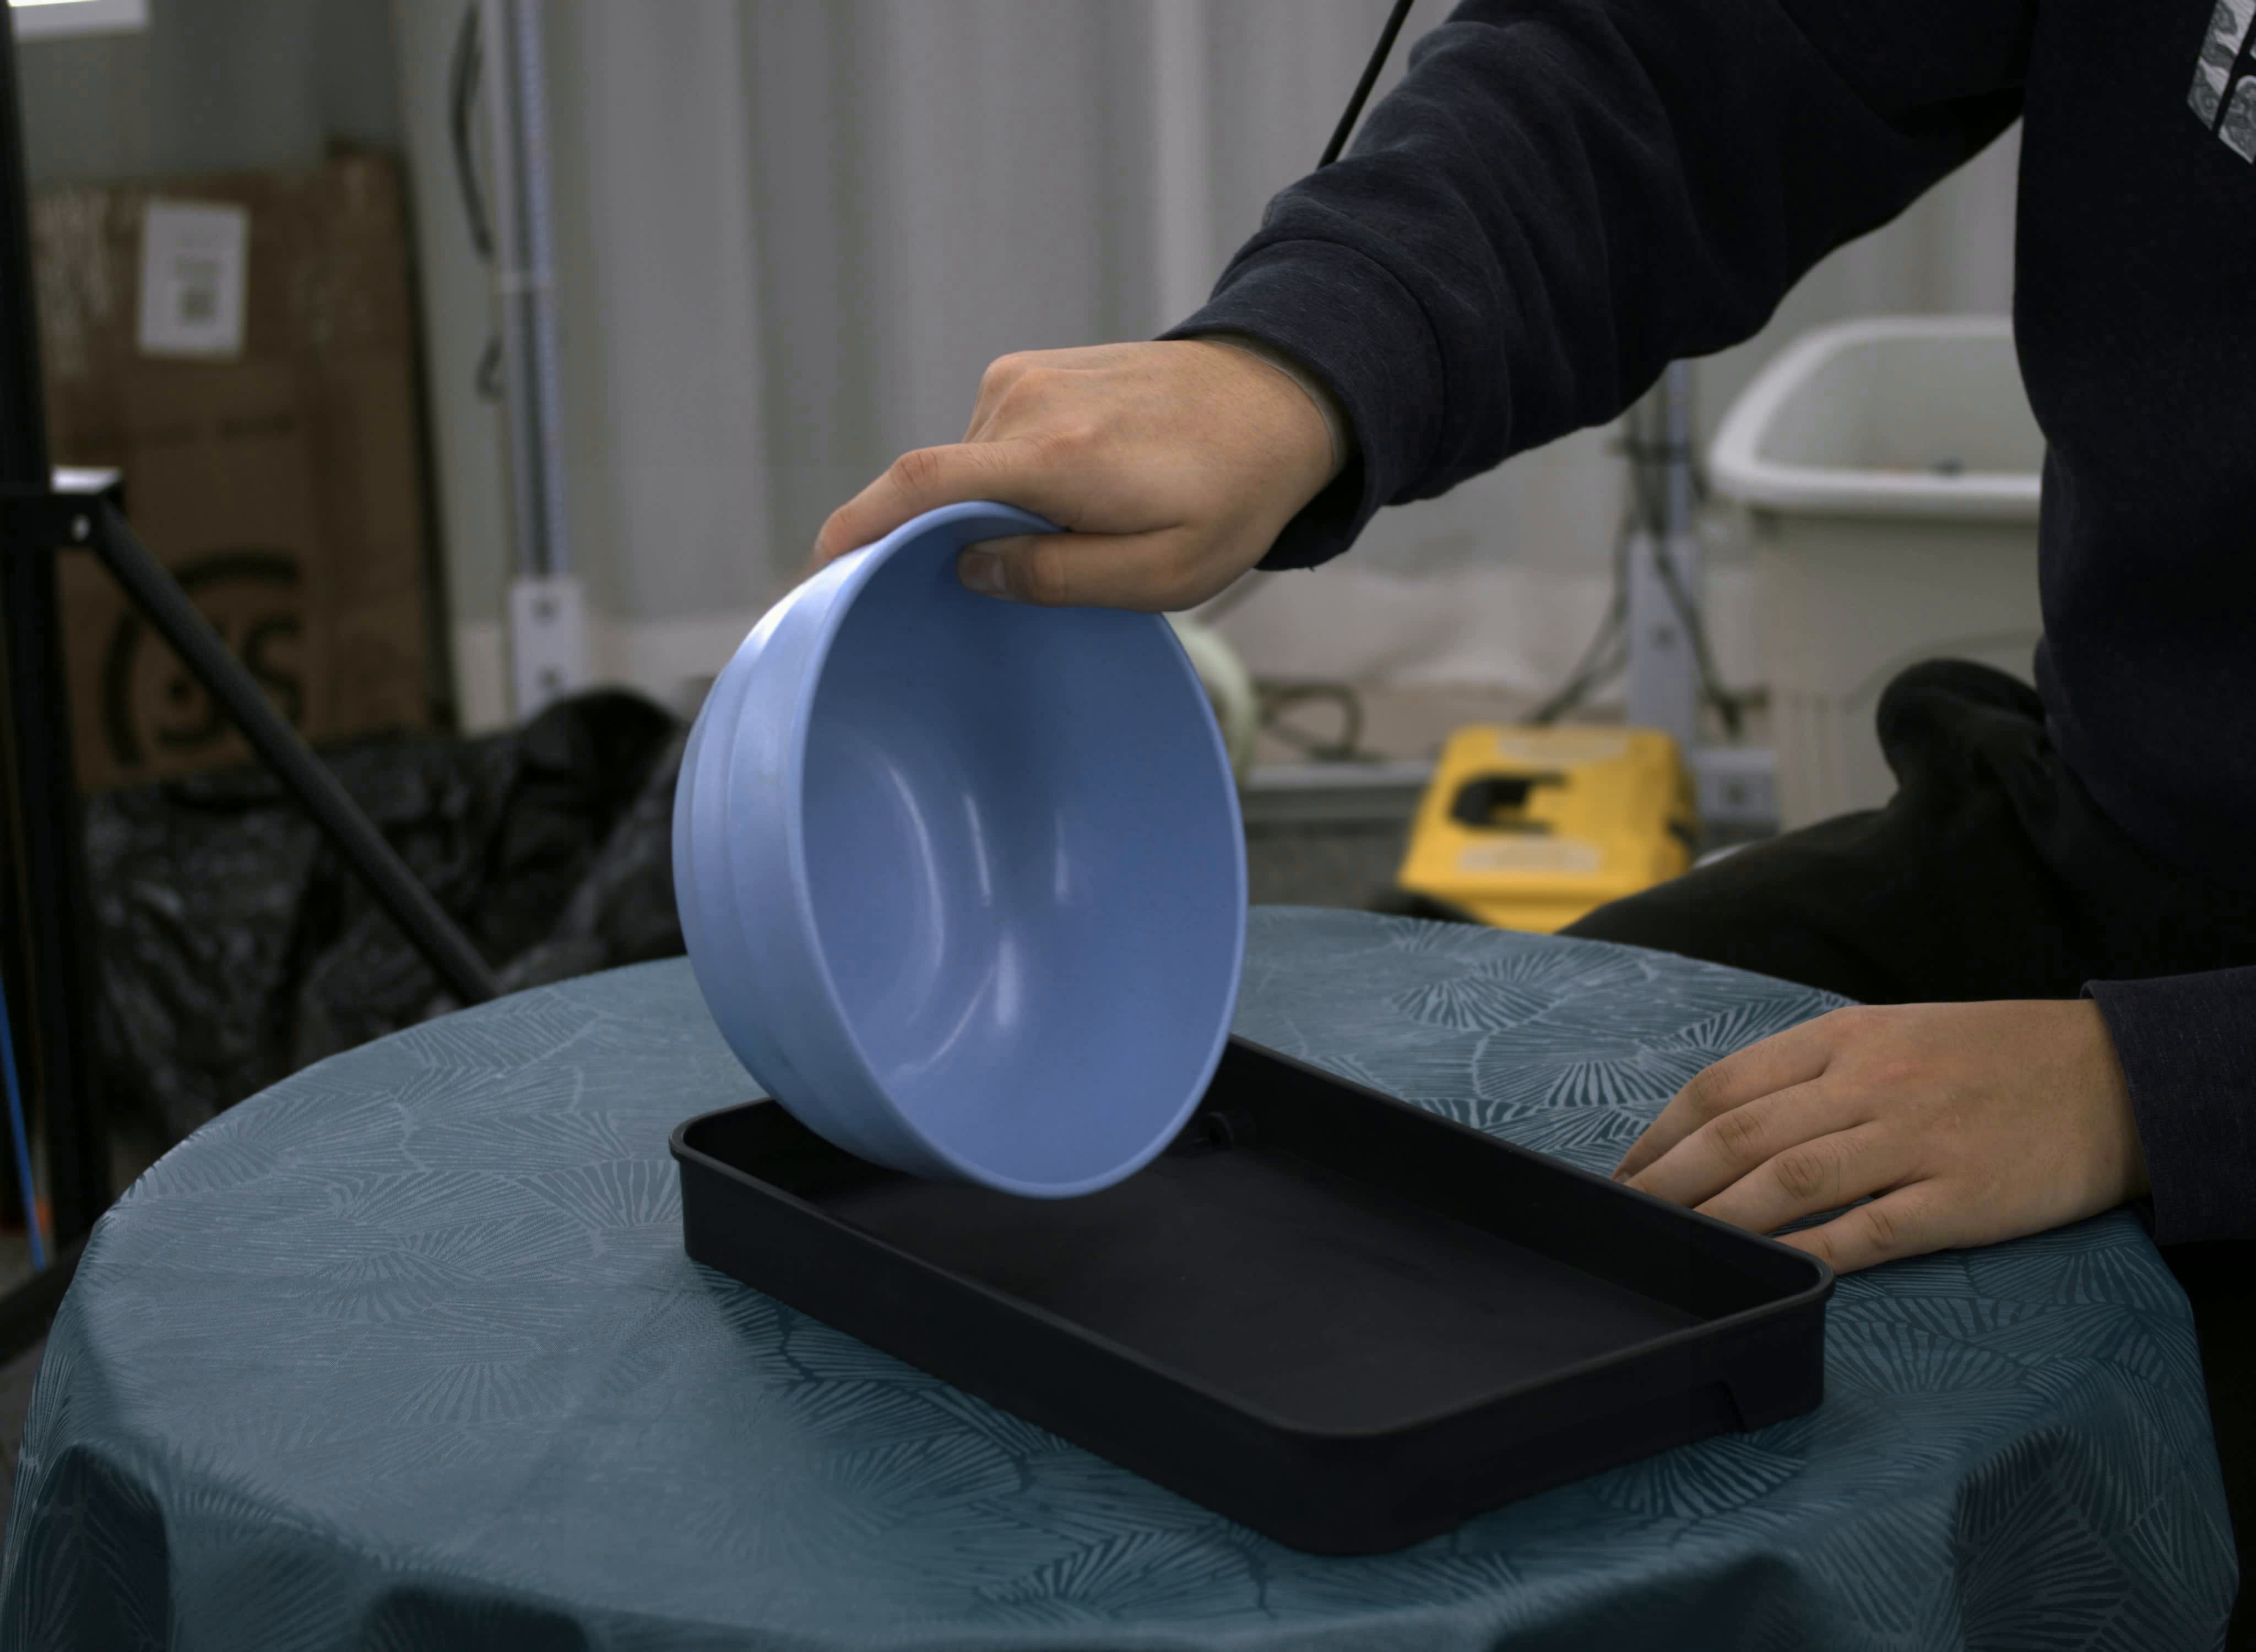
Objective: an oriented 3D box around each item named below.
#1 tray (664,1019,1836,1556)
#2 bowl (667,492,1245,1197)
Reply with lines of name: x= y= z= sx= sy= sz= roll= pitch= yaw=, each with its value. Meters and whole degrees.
tray: x=0.027 y=0.116 z=1.454 sx=0.180 sy=0.037 sz=0.325 roll=-13 pitch=19 yaw=-34
bowl: x=-0.063 y=0.011 z=1.506 sx=0.097 sy=0.197 sz=0.192 roll=-11 pitch=7 yaw=40
